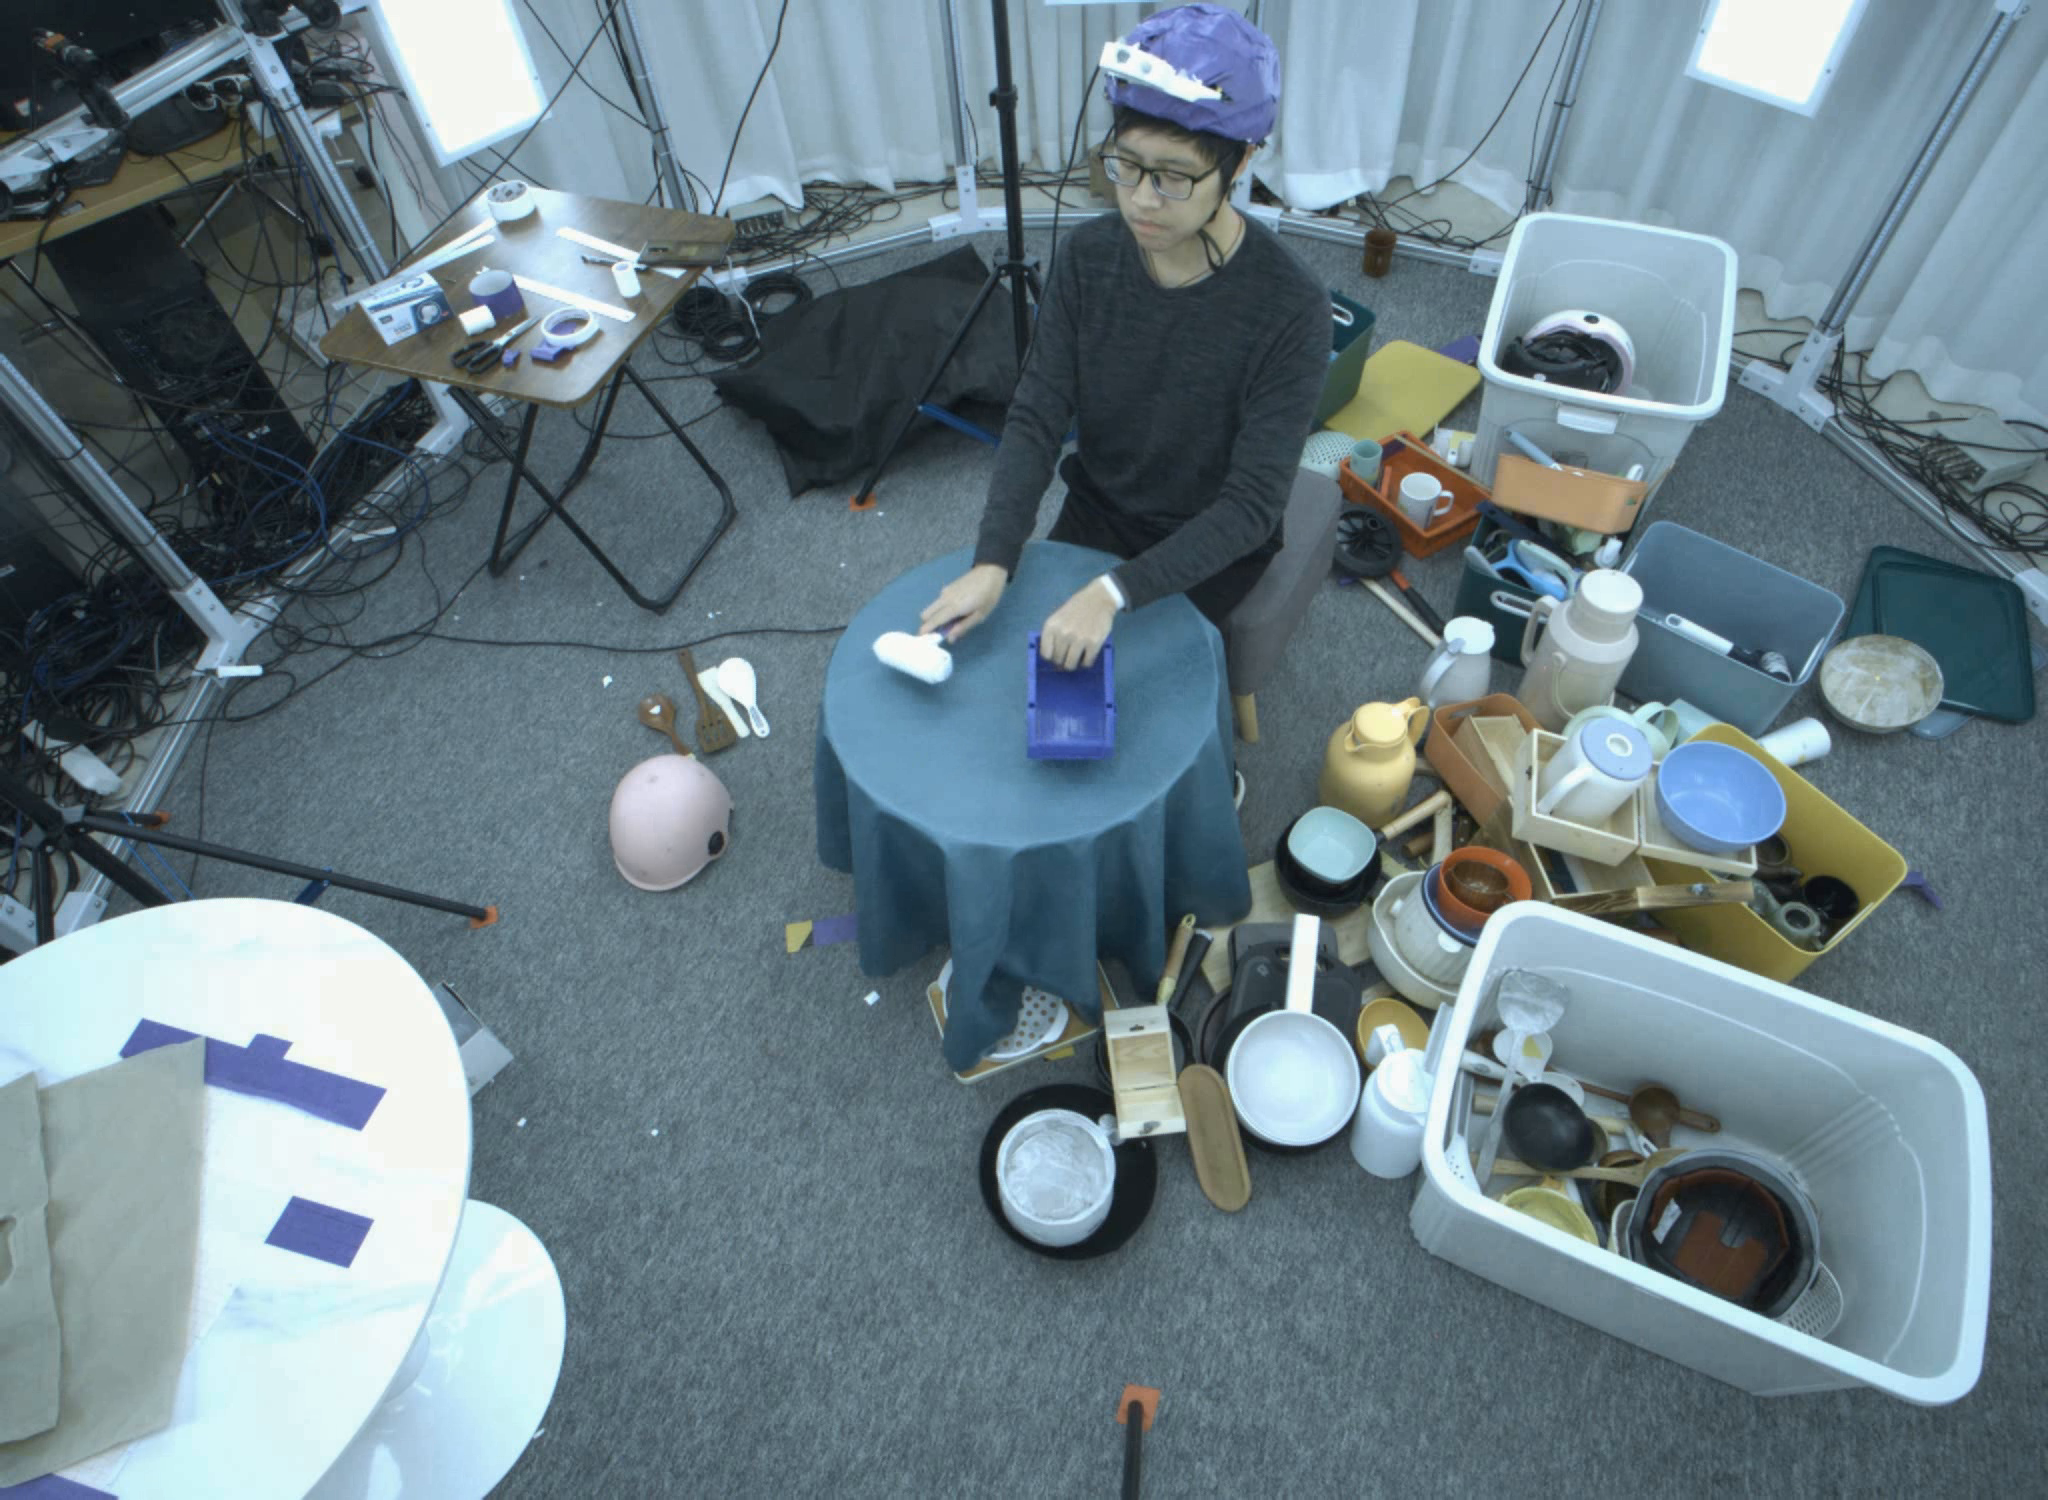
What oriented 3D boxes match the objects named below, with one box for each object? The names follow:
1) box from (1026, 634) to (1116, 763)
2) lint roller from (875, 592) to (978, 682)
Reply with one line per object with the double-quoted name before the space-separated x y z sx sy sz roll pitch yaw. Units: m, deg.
"box" 0.067 -0.069 1.738 0.124 0.082 0.177 2 55 0
"lint roller" -0.129 -0.185 1.850 0.130 0.051 0.181 25 65 30
